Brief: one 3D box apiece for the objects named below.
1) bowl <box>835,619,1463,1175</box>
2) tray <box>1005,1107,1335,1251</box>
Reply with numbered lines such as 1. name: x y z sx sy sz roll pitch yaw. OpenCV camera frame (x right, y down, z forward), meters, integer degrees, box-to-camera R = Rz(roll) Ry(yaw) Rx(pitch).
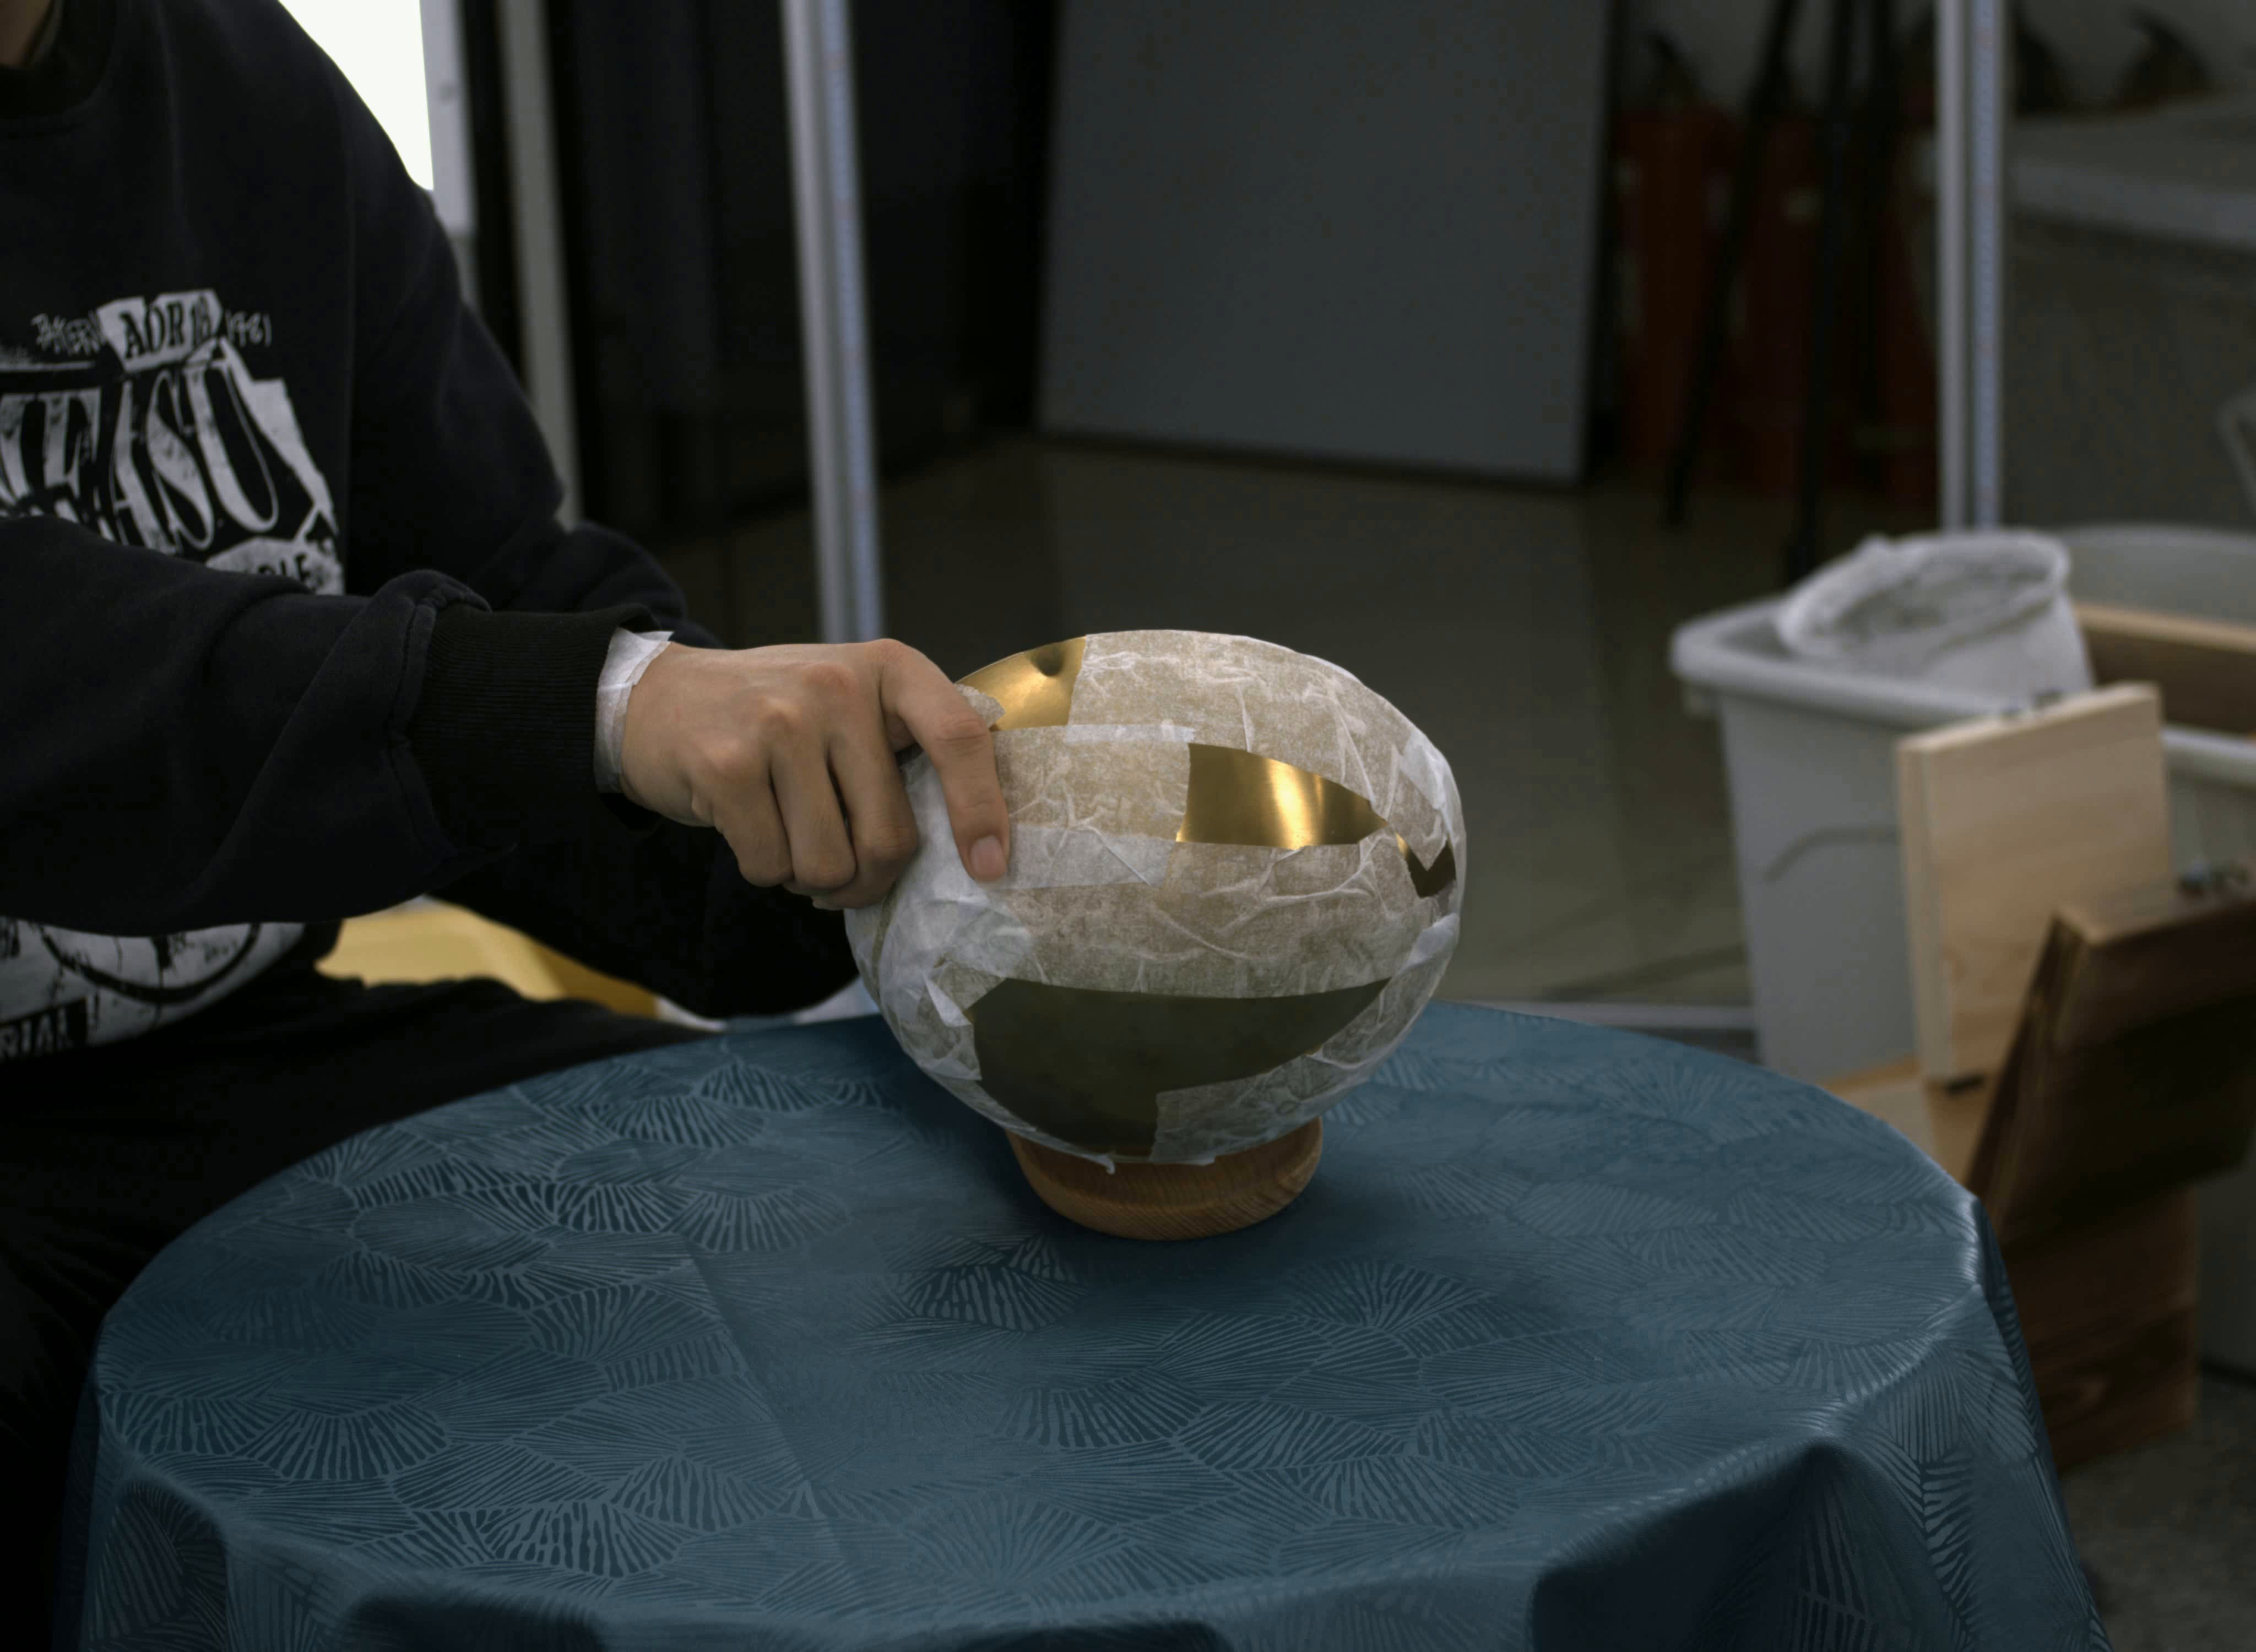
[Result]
1. bowl: 0.007 0.044 1.682 0.212 0.215 0.095 -3 44 2
2. tray: 0.000 0.075 1.809 0.100 0.020 0.233 -11 32 -11
